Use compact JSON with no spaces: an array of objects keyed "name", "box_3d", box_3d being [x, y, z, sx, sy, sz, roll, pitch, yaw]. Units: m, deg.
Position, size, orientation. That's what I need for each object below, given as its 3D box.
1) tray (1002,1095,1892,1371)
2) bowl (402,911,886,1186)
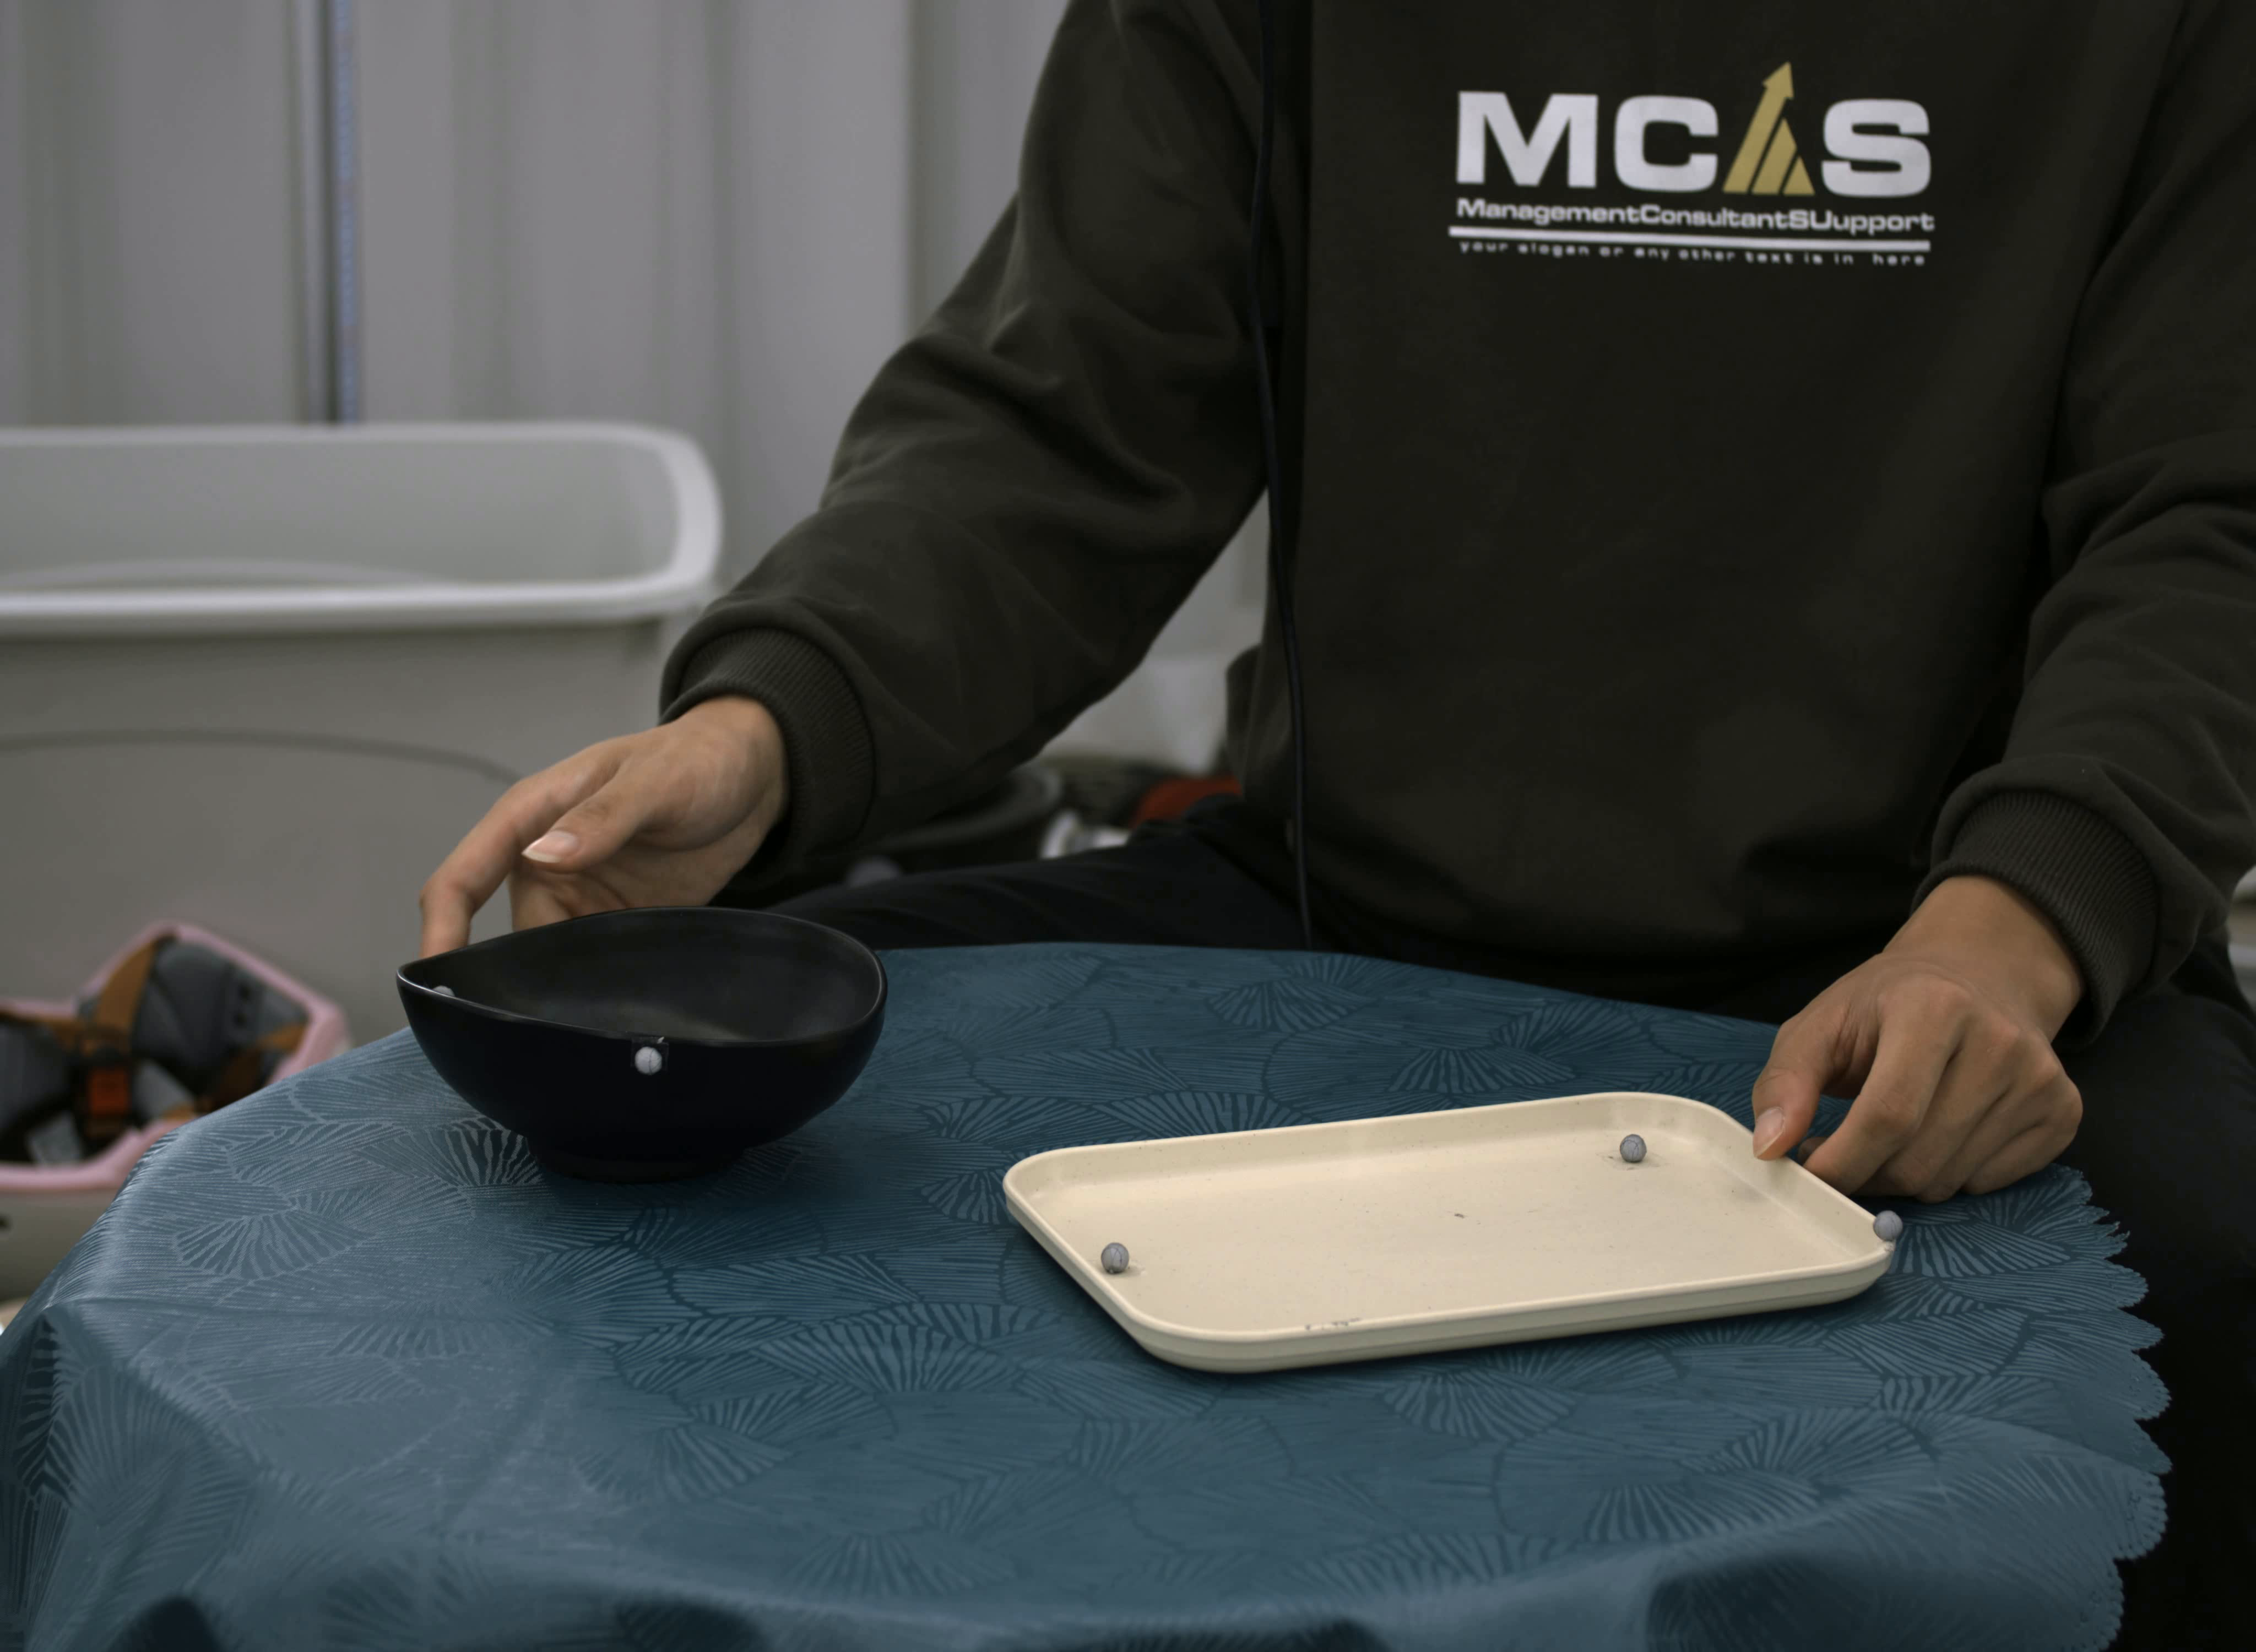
[{"name":"tray","box_3d":[0.094,0.121,1.573,0.240,0.017,0.169,-5,16,-20]},{"name":"bowl","box_3d":[-0.153,0.073,1.648,0.168,0.067,0.138,11,17,37]}]
